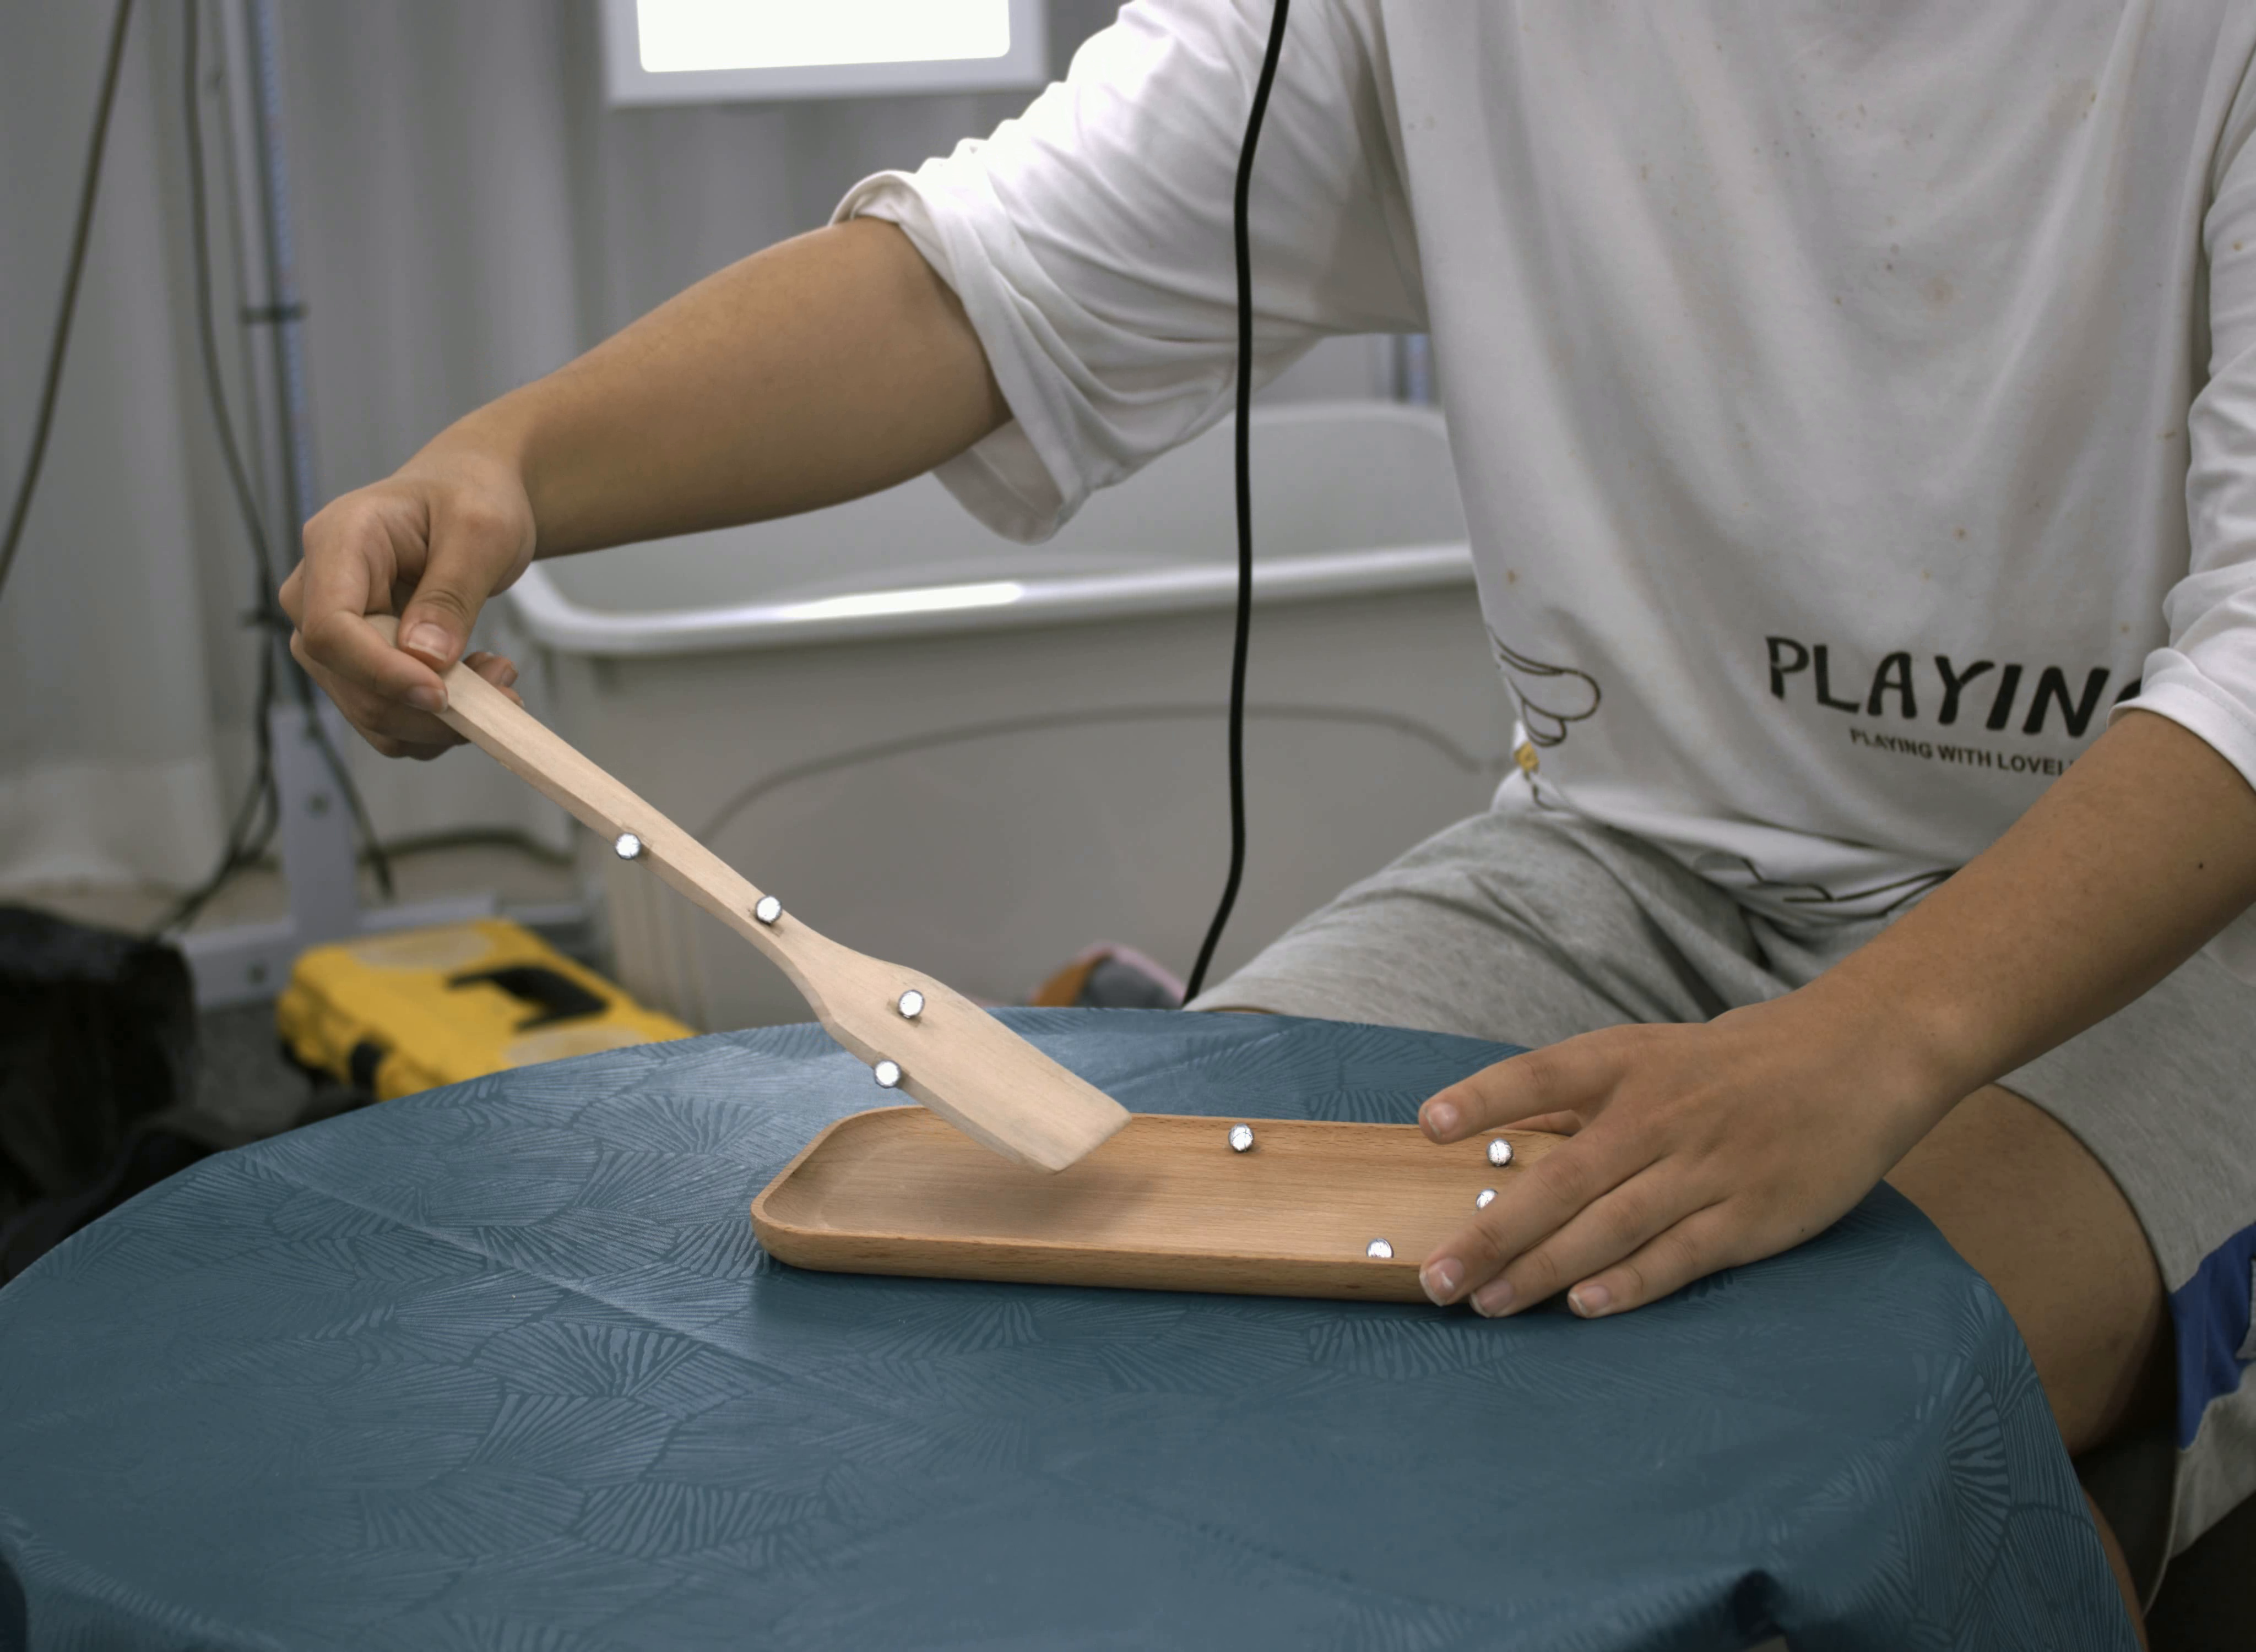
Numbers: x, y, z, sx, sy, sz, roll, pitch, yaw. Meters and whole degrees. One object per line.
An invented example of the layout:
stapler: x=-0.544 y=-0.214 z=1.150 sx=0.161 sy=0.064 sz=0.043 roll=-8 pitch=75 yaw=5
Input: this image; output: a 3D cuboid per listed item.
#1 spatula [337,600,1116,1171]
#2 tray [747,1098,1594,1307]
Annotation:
spatula: x=-0.132 y=0.016 z=1.709 sx=0.294 sy=0.010 sz=0.072 roll=36 pitch=23 yaw=12
tray: x=0.014 y=0.115 z=1.683 sx=0.250 sy=0.023 sz=0.131 roll=2 pitch=13 yaw=16
